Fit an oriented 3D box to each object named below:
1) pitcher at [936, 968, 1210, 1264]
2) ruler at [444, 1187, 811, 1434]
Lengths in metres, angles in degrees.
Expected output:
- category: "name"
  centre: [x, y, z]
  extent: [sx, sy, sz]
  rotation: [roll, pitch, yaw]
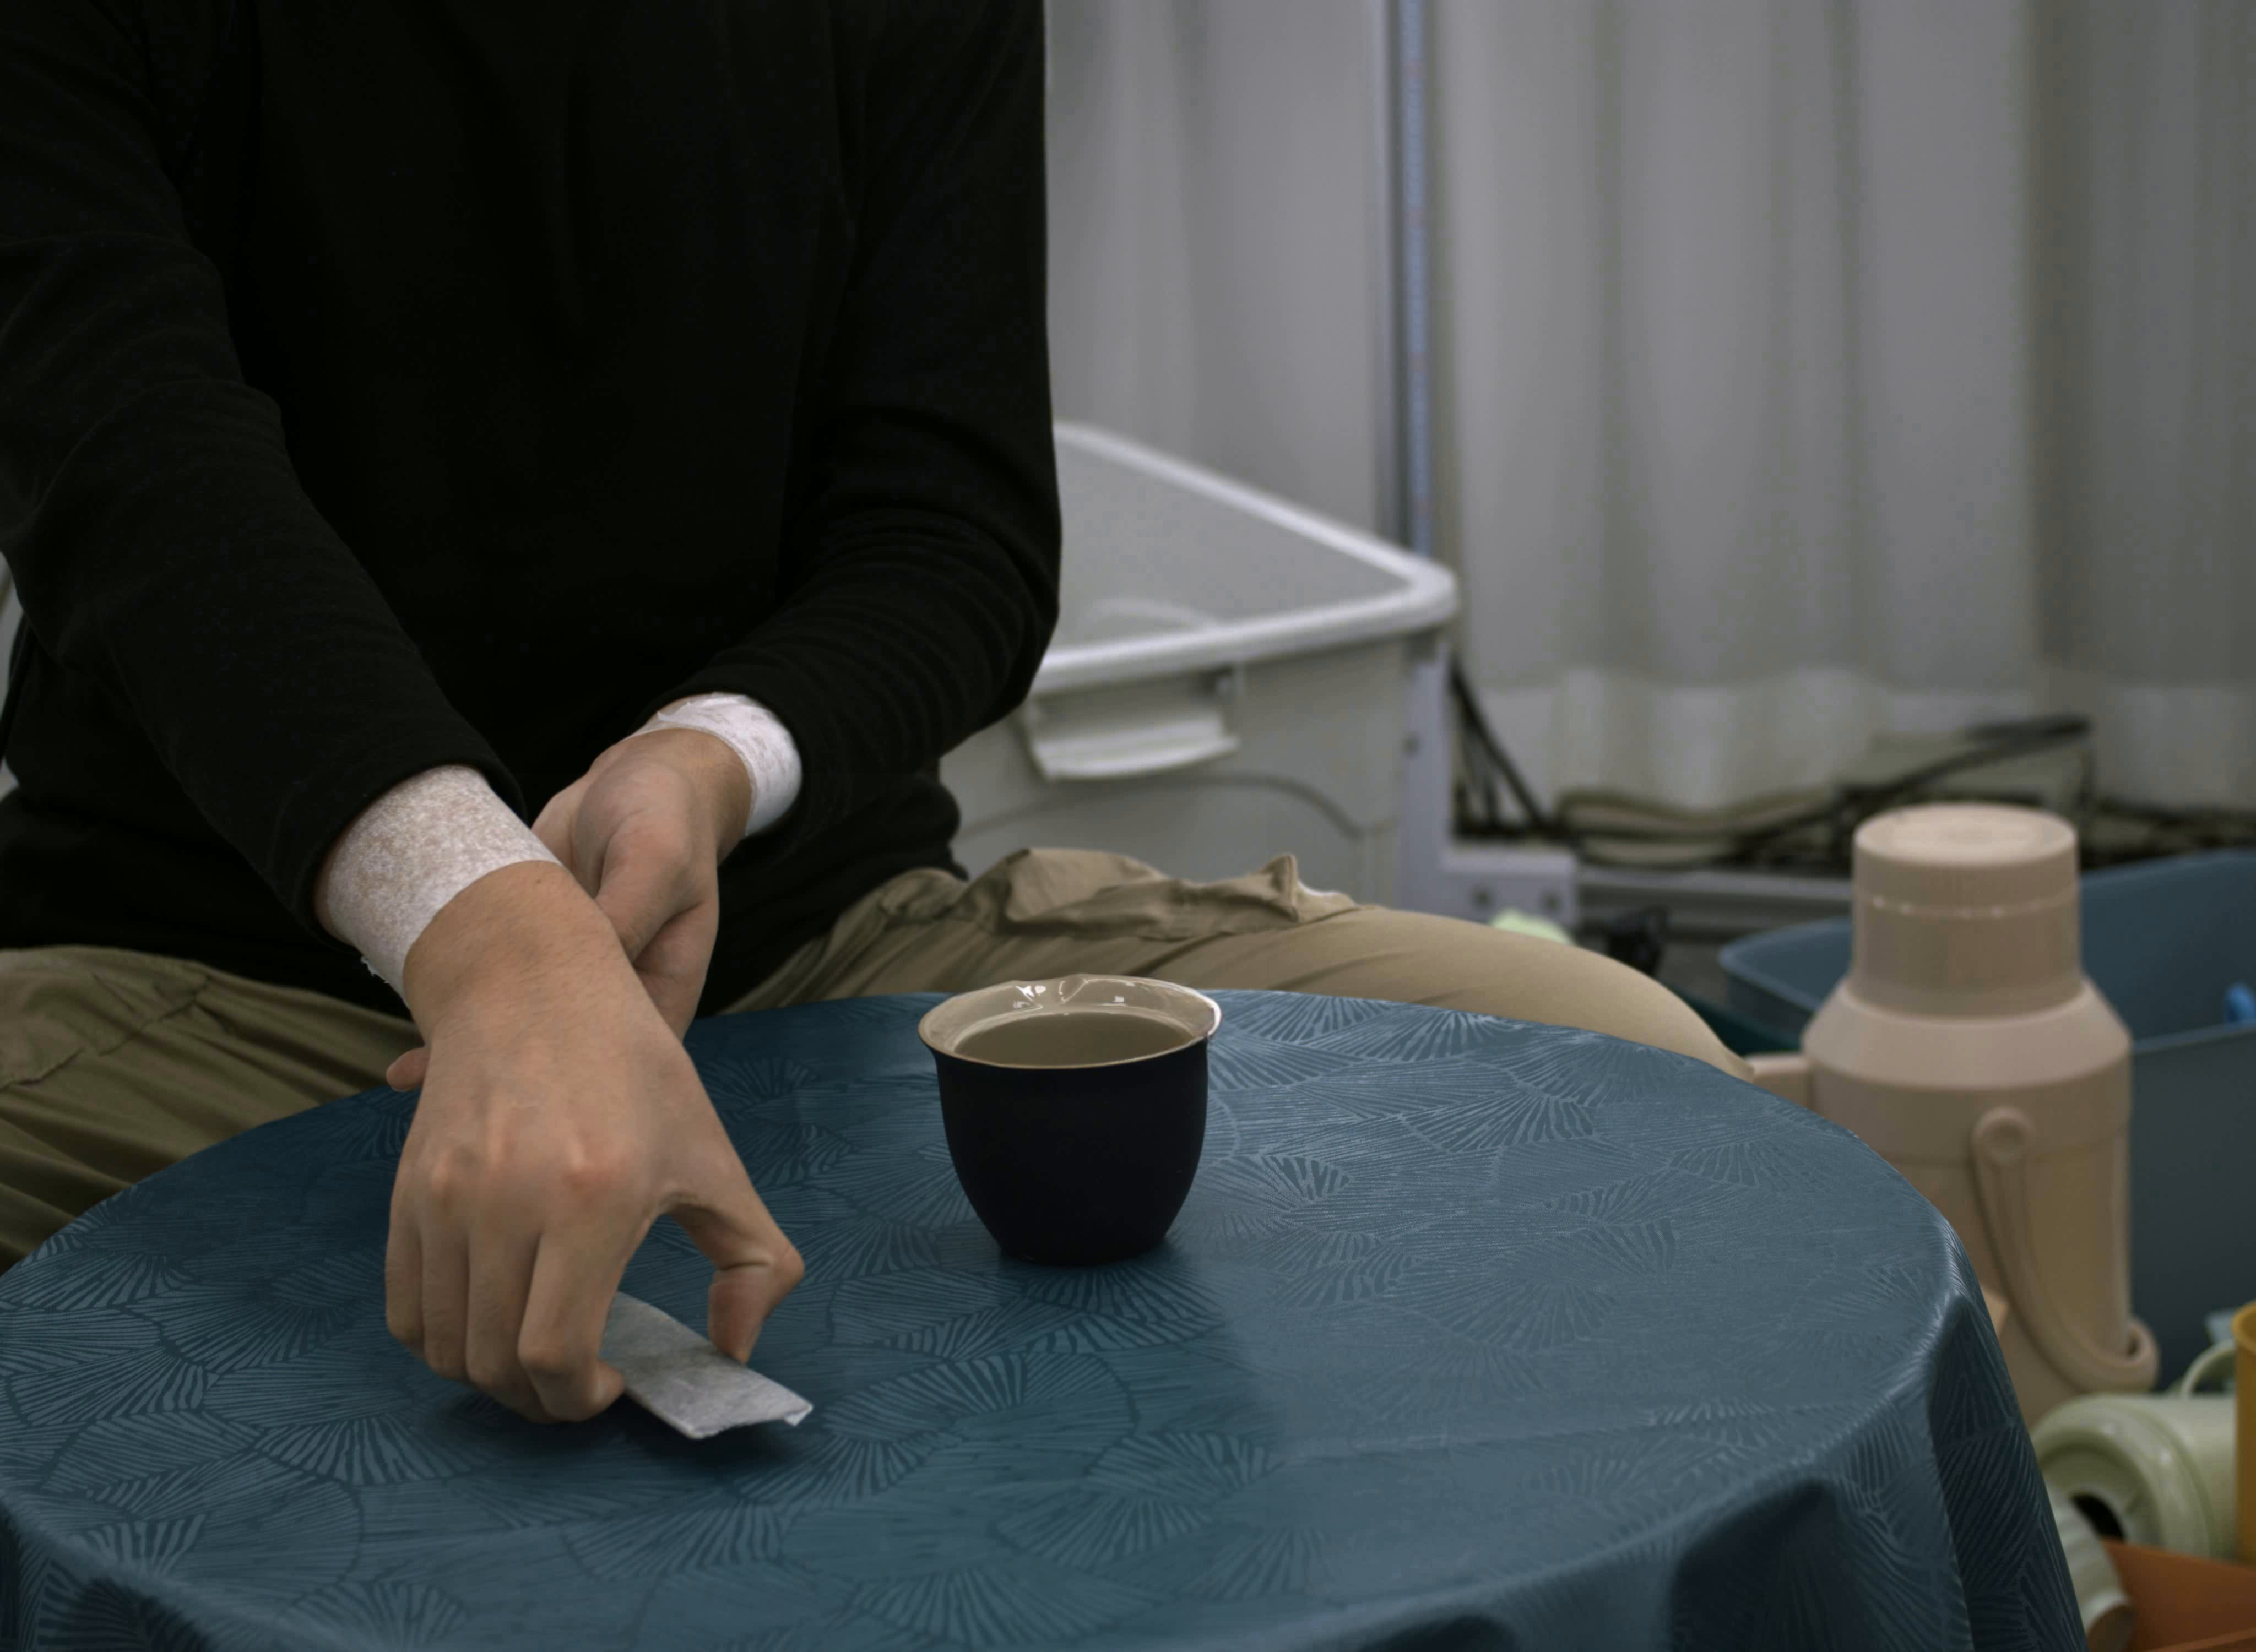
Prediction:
- category: "pitcher"
  centre: [-0.016, 0.090, 1.668]
  extent: [0.083, 0.071, 0.097]
  rotation: [-6, 15, -8]
- category: "ruler"
  centre: [-0.151, 0.138, 1.589]
  extent: [0.038, 0.024, 0.219]
  rotation: [-17, 15, -23]
